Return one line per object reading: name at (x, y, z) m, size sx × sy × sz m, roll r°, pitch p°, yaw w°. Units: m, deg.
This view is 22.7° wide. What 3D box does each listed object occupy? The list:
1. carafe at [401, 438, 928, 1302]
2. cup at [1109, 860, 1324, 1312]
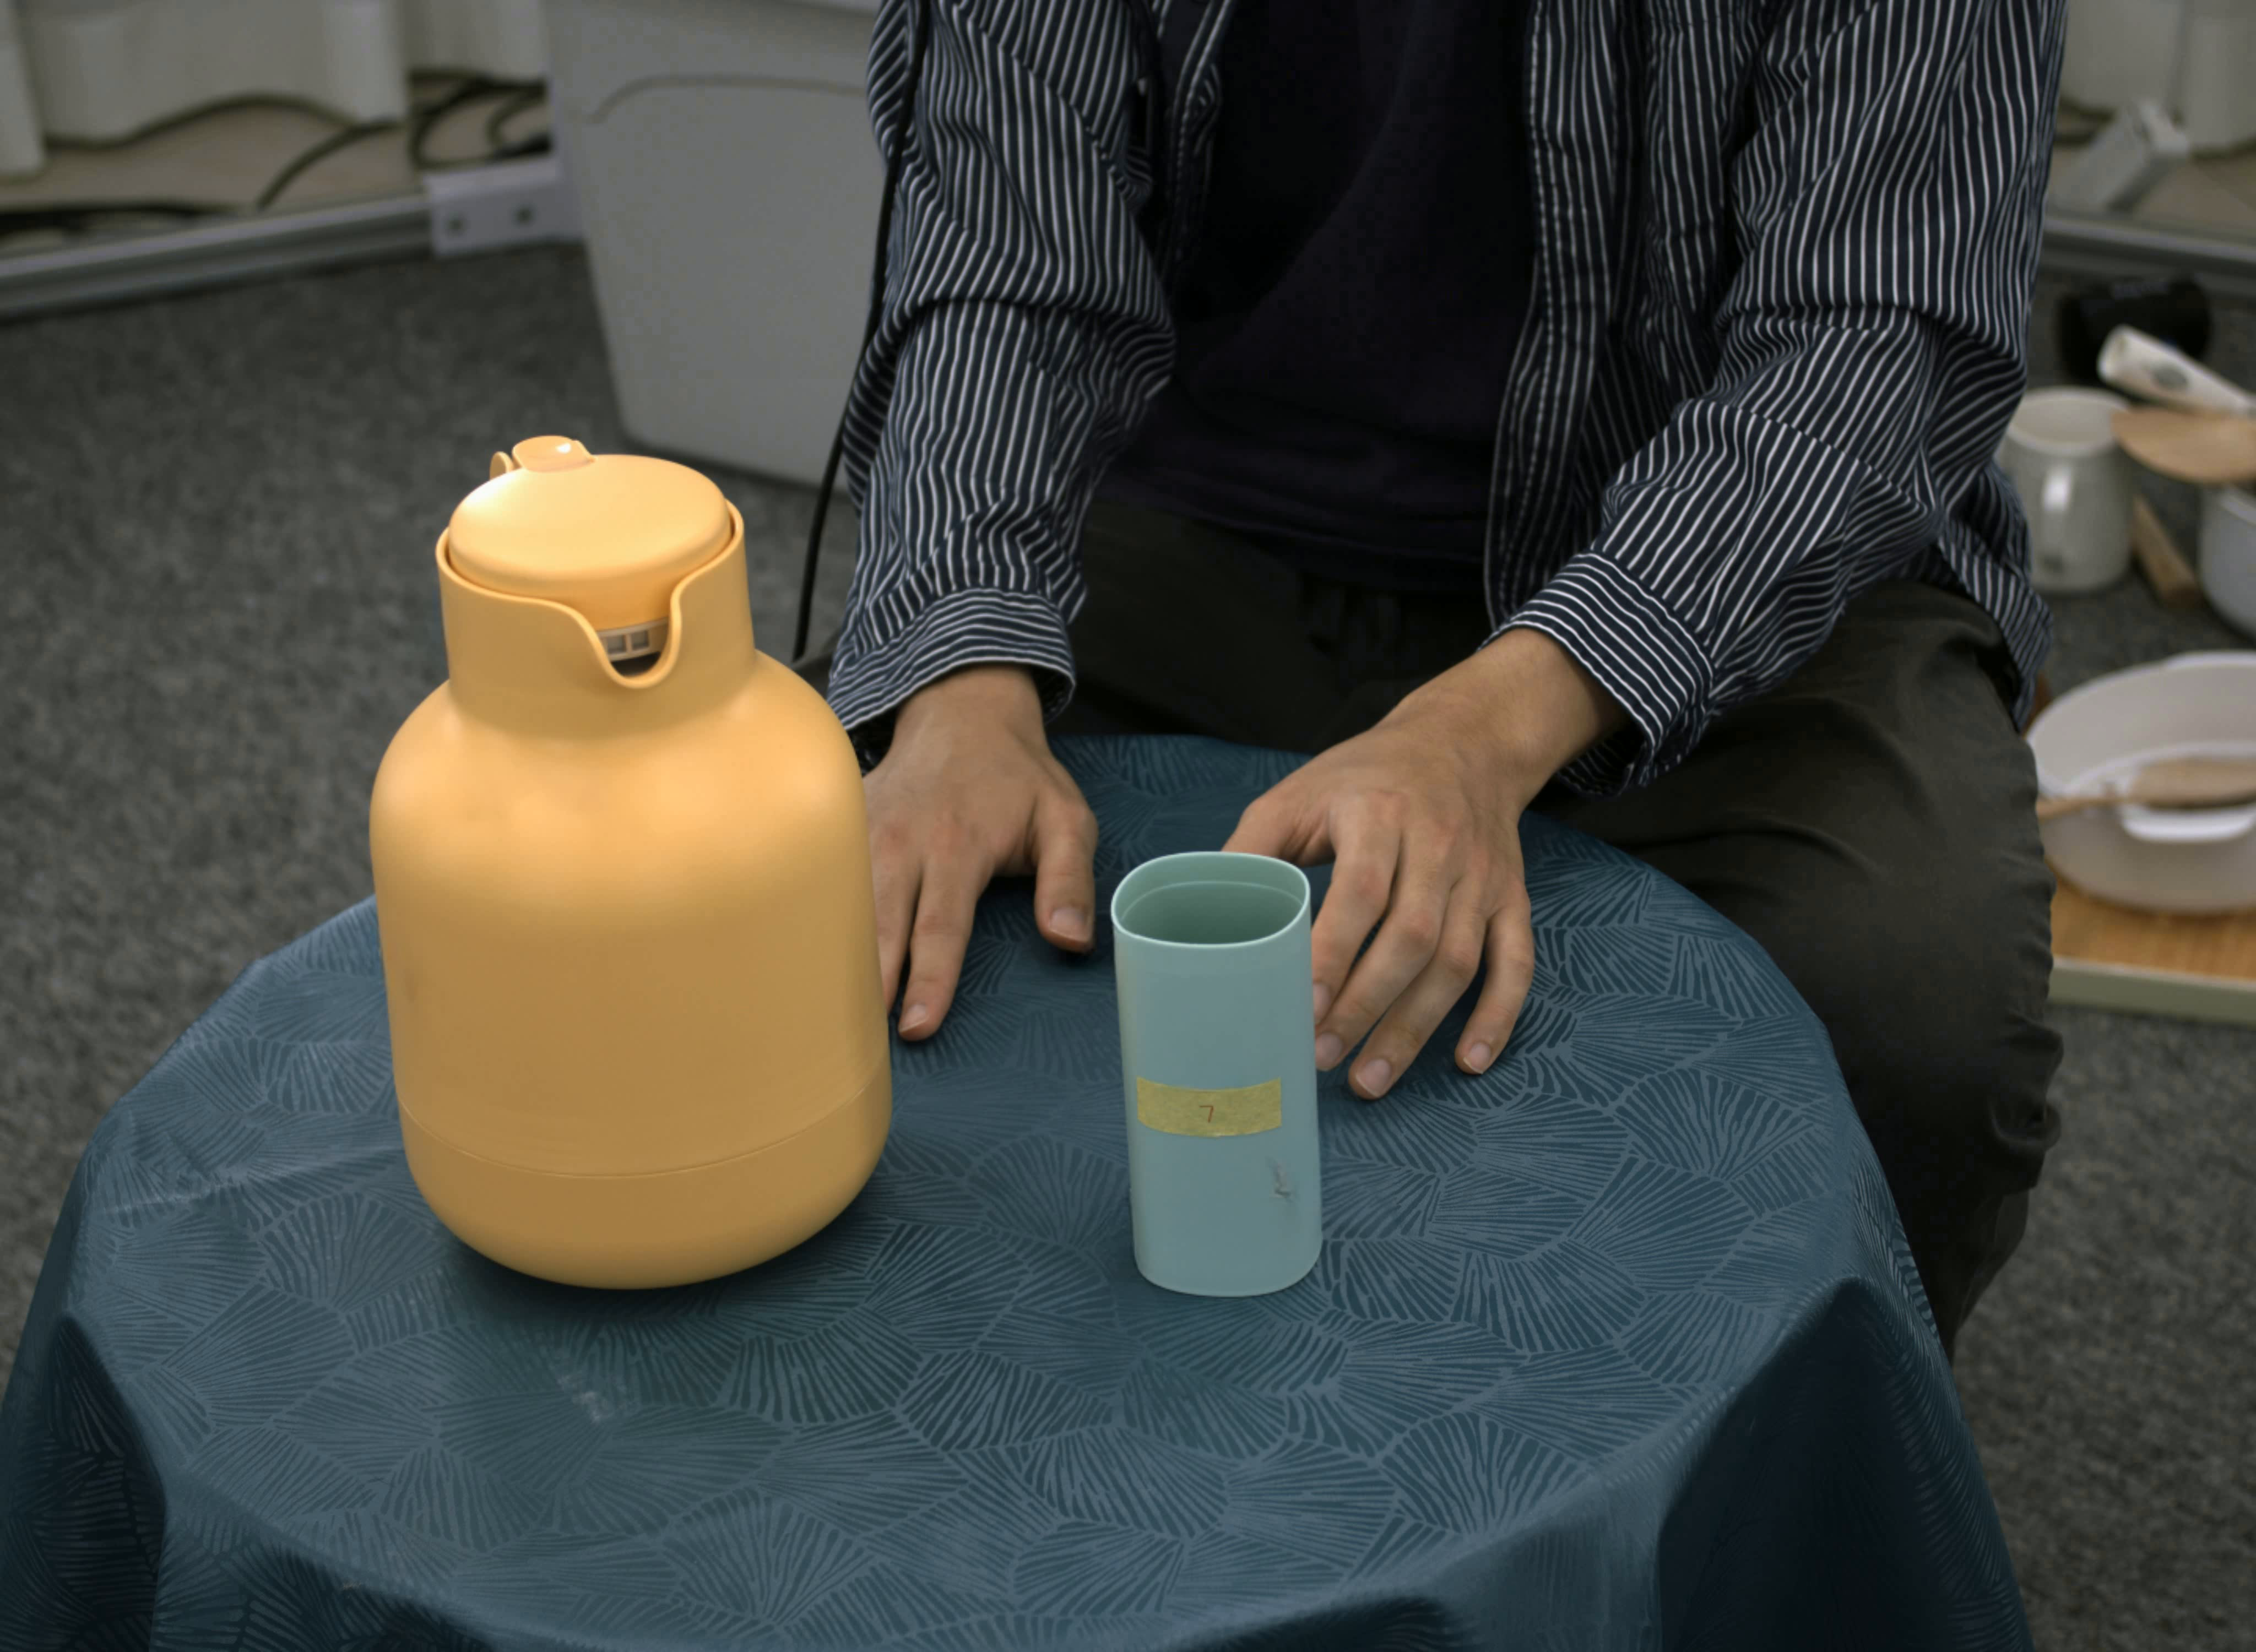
carafe at (-0.156, 0.004, 1.820) m, size 0.164 × 0.258 × 0.204 m, roll -10°, pitch 27°, yaw -16°
cup at (0.029, 0.082, 1.795) m, size 0.066 × 0.131 × 0.068 m, roll -3°, pitch 27°, yaw 2°
